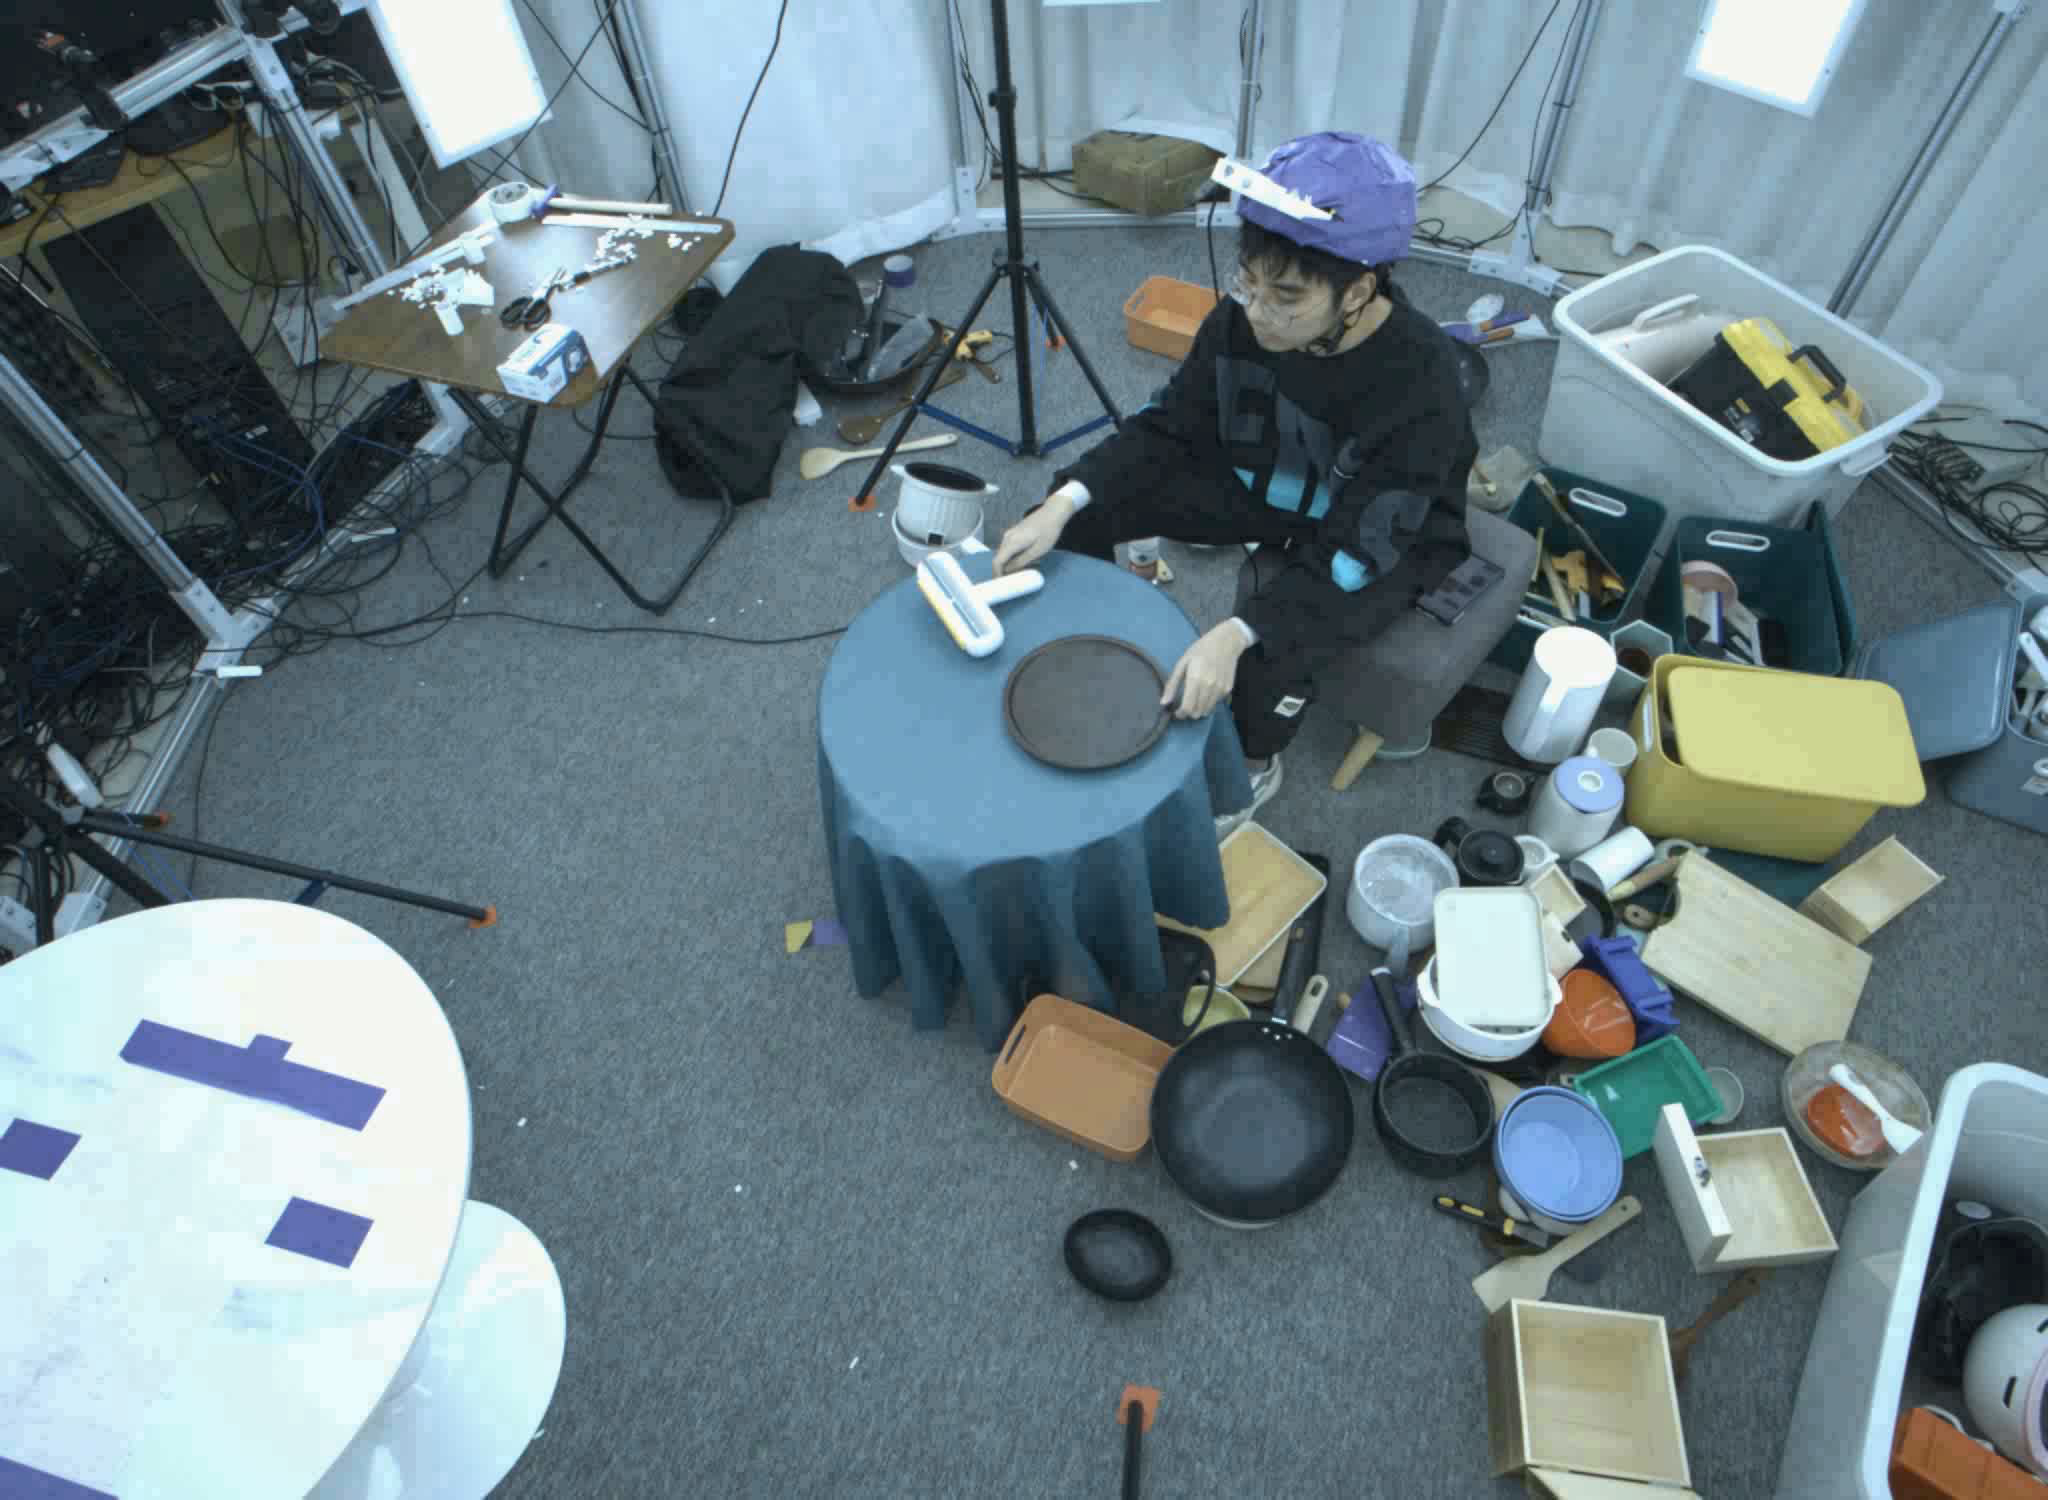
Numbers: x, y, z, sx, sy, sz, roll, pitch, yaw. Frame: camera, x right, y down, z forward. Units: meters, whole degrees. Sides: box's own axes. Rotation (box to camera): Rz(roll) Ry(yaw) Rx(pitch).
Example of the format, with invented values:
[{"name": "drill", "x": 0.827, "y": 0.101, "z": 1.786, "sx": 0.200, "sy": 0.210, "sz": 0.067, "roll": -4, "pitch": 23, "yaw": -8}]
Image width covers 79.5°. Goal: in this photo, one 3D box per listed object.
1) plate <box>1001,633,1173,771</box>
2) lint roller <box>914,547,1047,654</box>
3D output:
[{"name": "plate", "x": 0.093, "y": -0.072, "z": 1.817, "sx": 0.254, "sy": 0.029, "sz": 0.252, "roll": 0, "pitch": 53, "yaw": 1}, {"name": "lint roller", "x": -0.053, "y": -0.250, "z": 1.921, "sx": 0.194, "sy": 0.075, "sz": 0.189, "roll": -24, "pitch": 63, "yaw": -16}]
